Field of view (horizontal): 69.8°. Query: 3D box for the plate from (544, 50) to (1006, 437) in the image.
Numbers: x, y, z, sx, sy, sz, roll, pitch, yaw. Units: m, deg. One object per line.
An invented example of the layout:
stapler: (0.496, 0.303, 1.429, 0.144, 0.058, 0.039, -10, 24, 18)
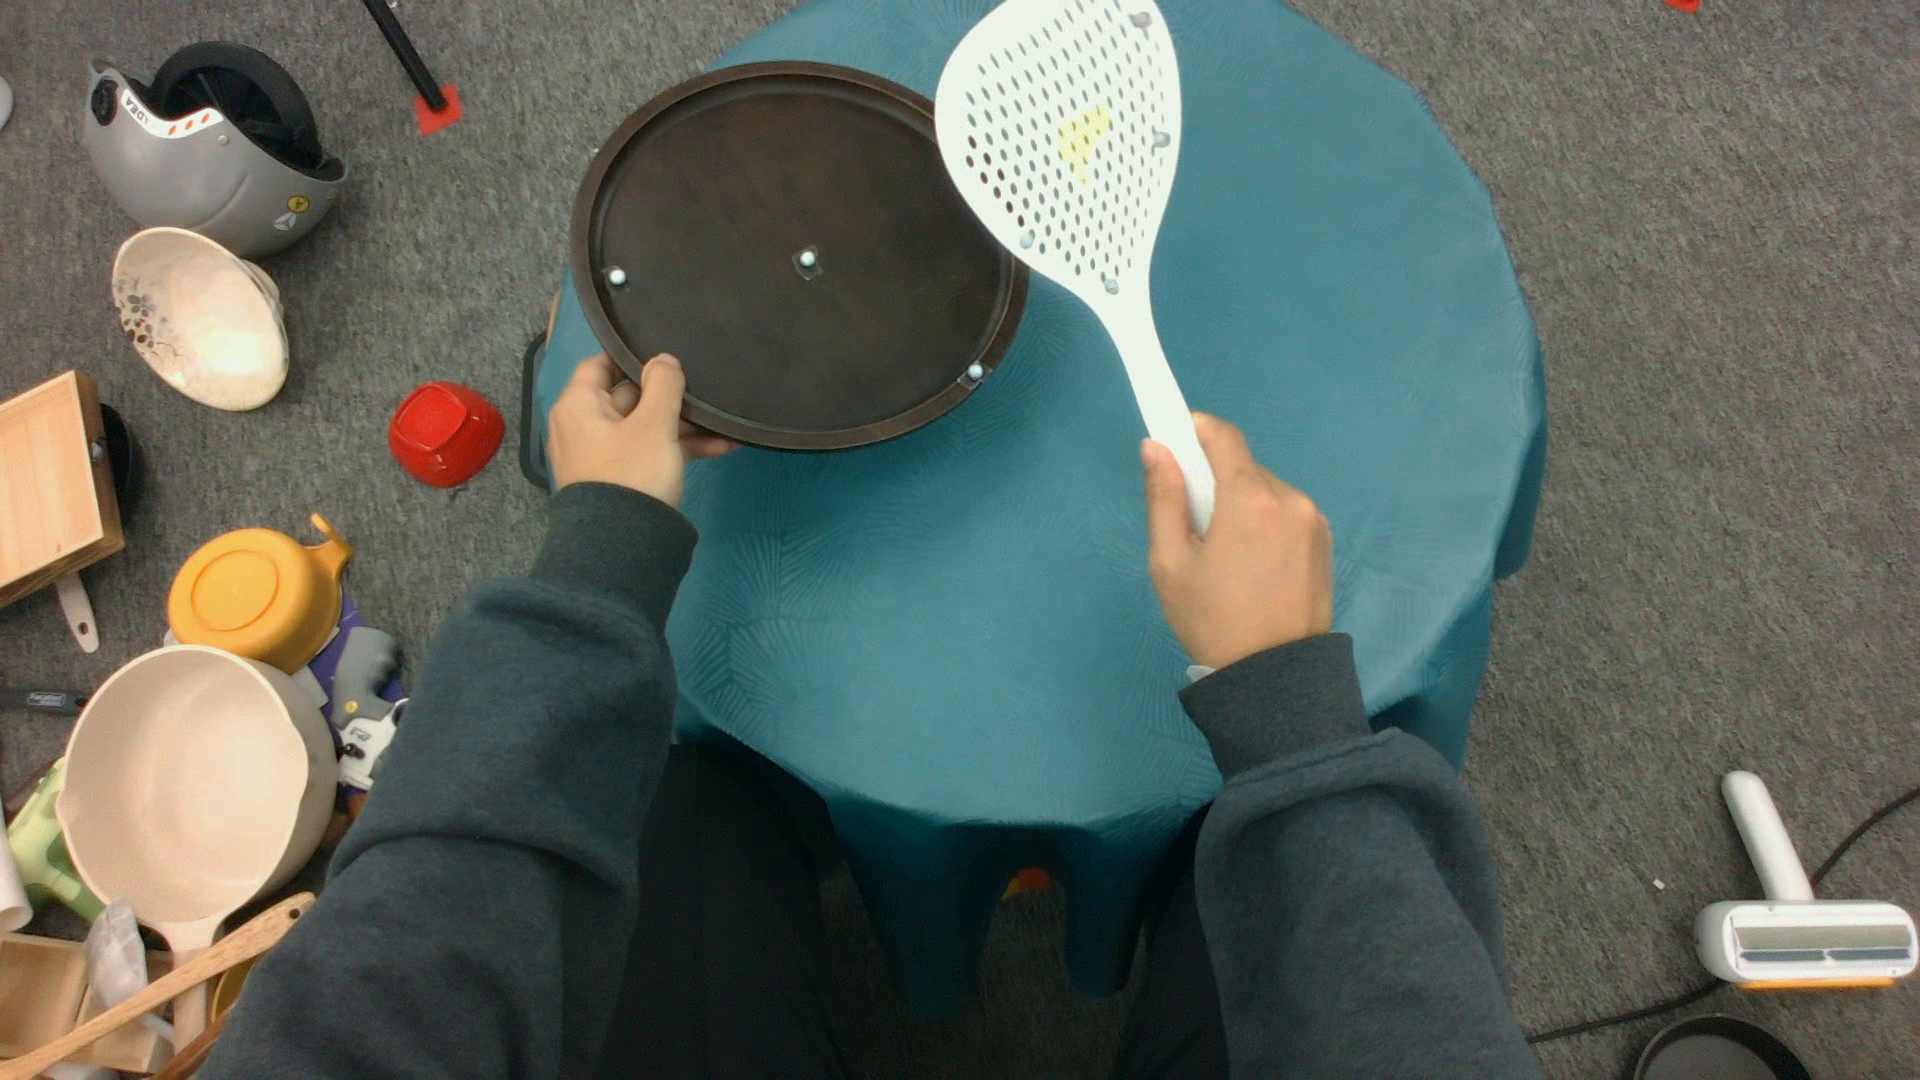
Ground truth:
plate: (-0.101, -0.169, 0.768, 0.255, 0.029, 0.255, 4, 67, -9)

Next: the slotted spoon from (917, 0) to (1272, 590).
slotted spoon: (0.080, -0.137, 0.695, 0.136, 0.050, 0.348, -23, 72, 18)
